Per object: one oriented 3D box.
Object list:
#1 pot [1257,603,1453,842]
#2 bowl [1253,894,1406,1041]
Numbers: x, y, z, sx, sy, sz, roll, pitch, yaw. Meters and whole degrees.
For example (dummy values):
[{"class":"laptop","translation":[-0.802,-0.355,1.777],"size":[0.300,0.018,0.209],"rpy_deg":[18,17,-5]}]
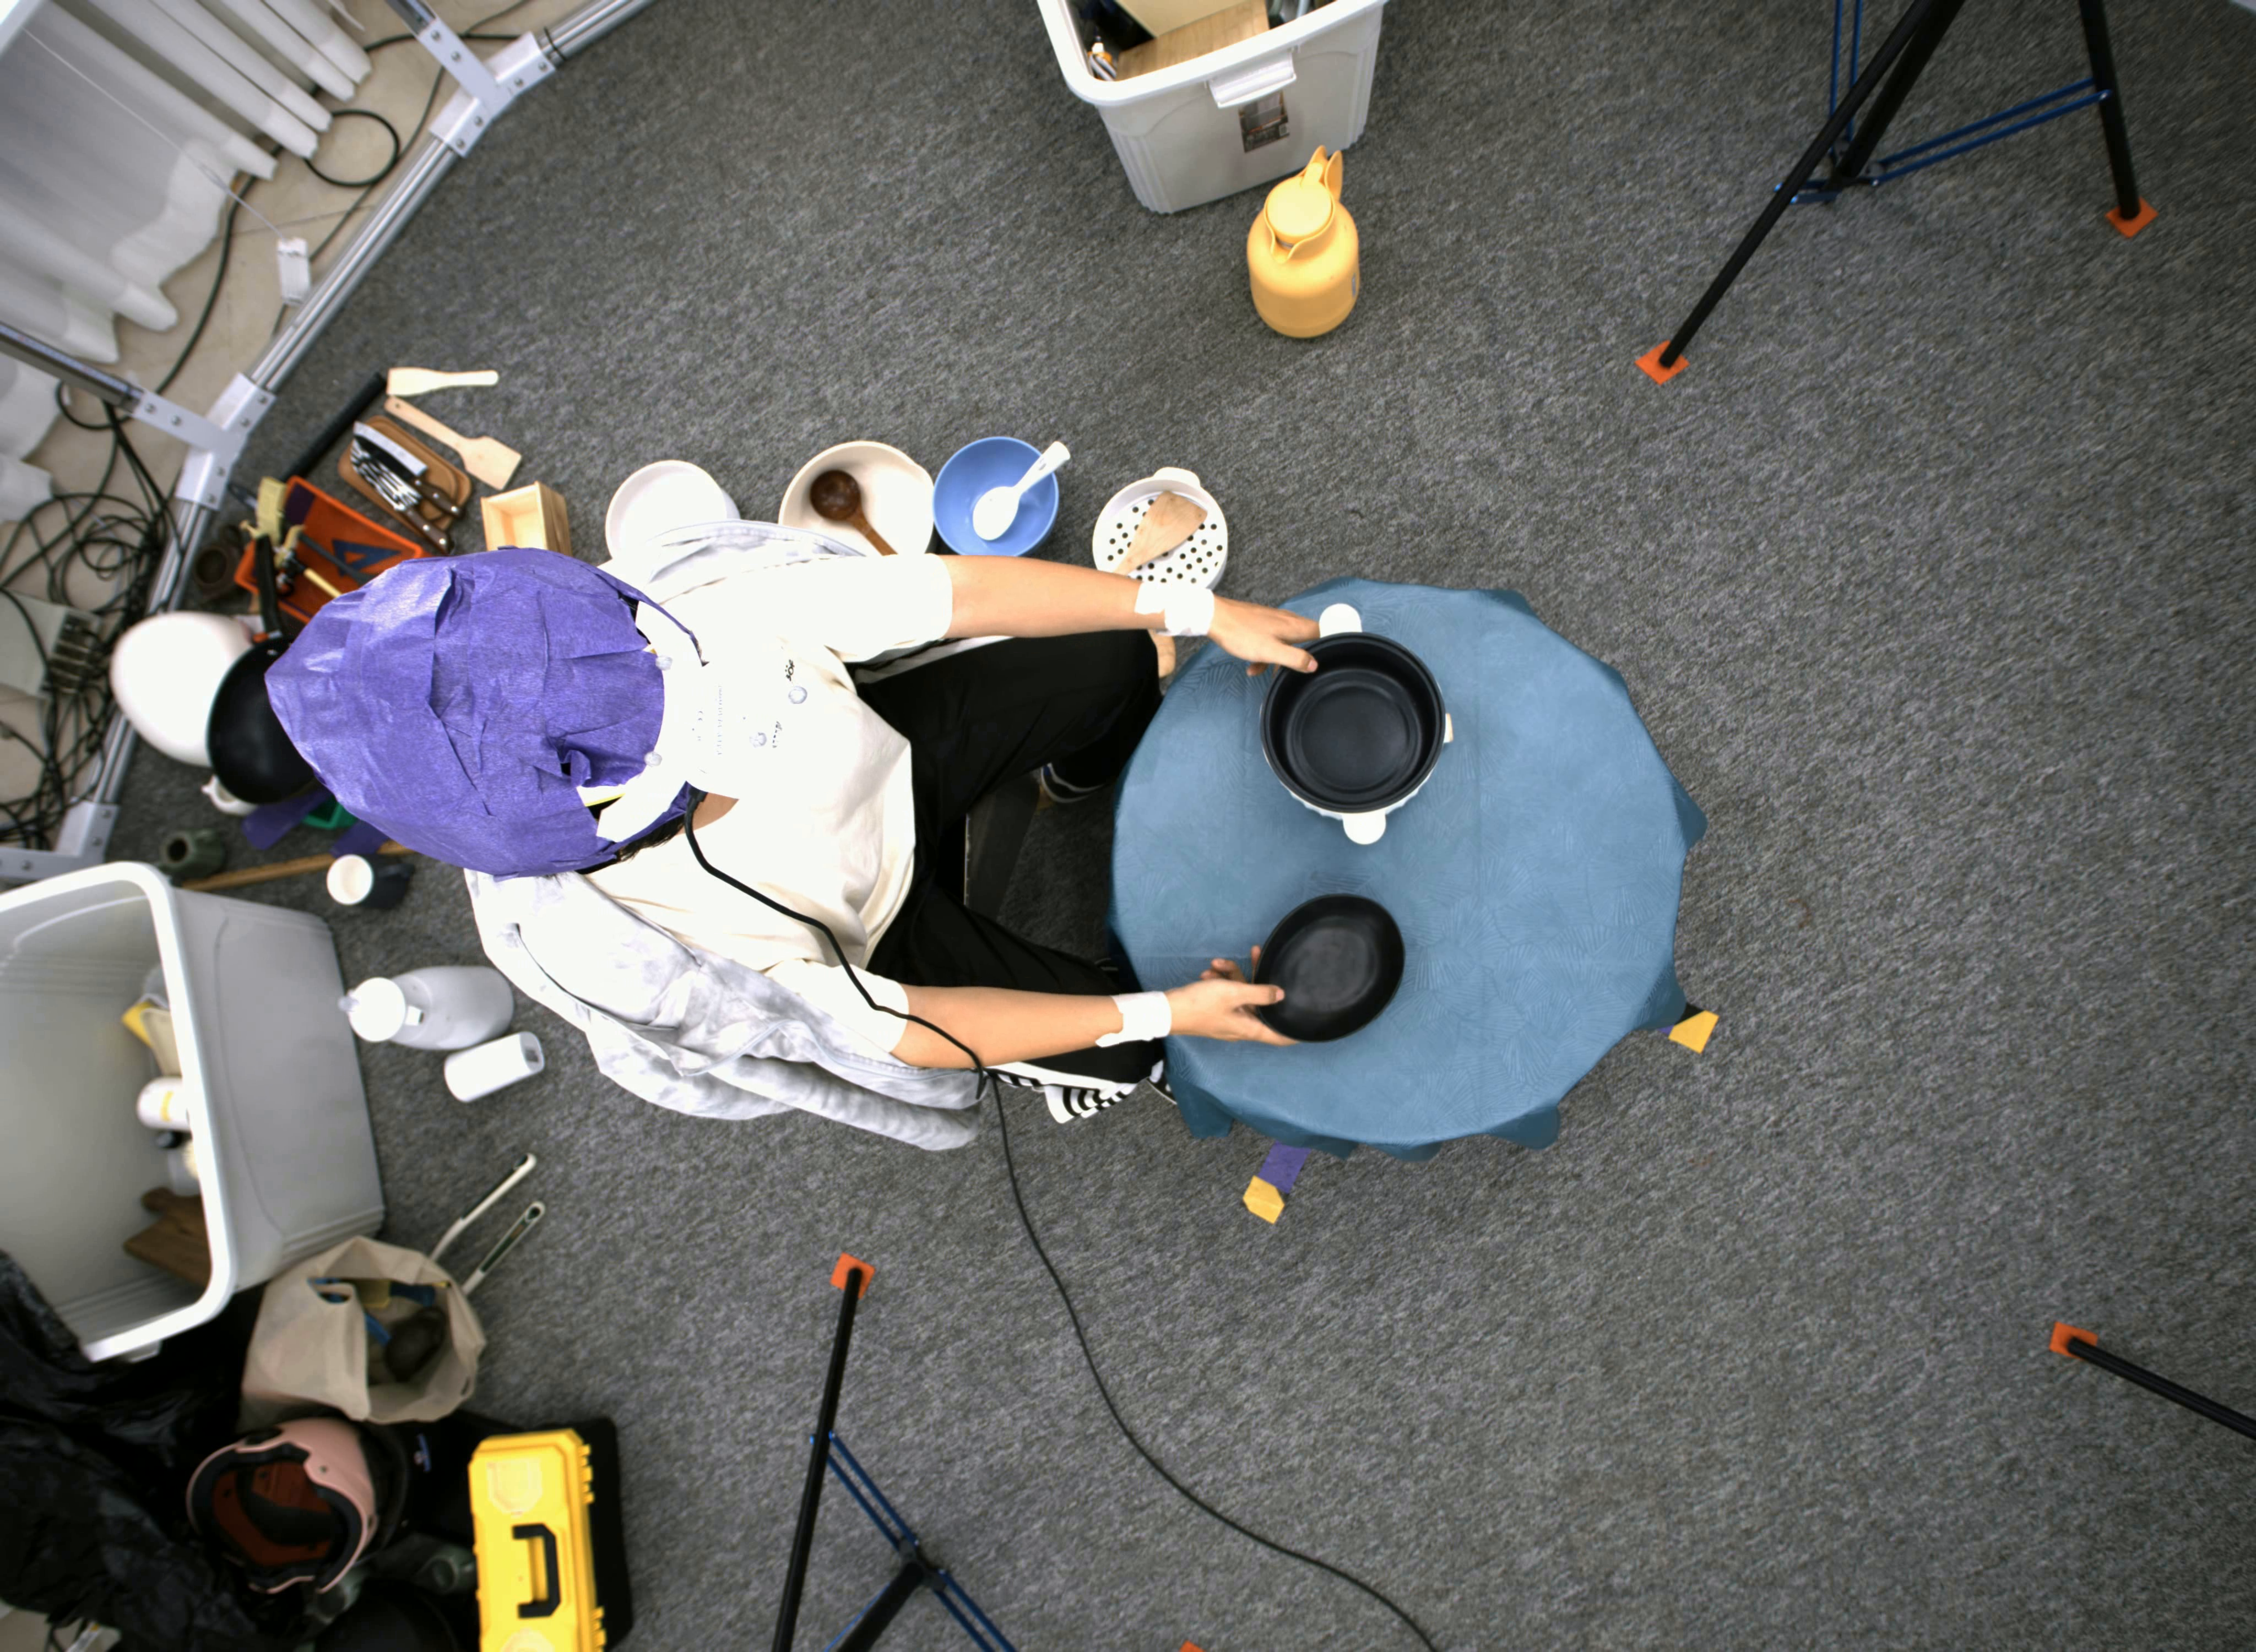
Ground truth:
[{"class":"pot","translation":[0.234,-0.099,1.404],"size":[0.191,0.142,0.239],"rpy_deg":[-8,85,13]},{"class":"bowl","translation":[0.209,0.148,1.433],"size":[0.171,0.067,0.136],"rpy_deg":[-45,79,6]}]
